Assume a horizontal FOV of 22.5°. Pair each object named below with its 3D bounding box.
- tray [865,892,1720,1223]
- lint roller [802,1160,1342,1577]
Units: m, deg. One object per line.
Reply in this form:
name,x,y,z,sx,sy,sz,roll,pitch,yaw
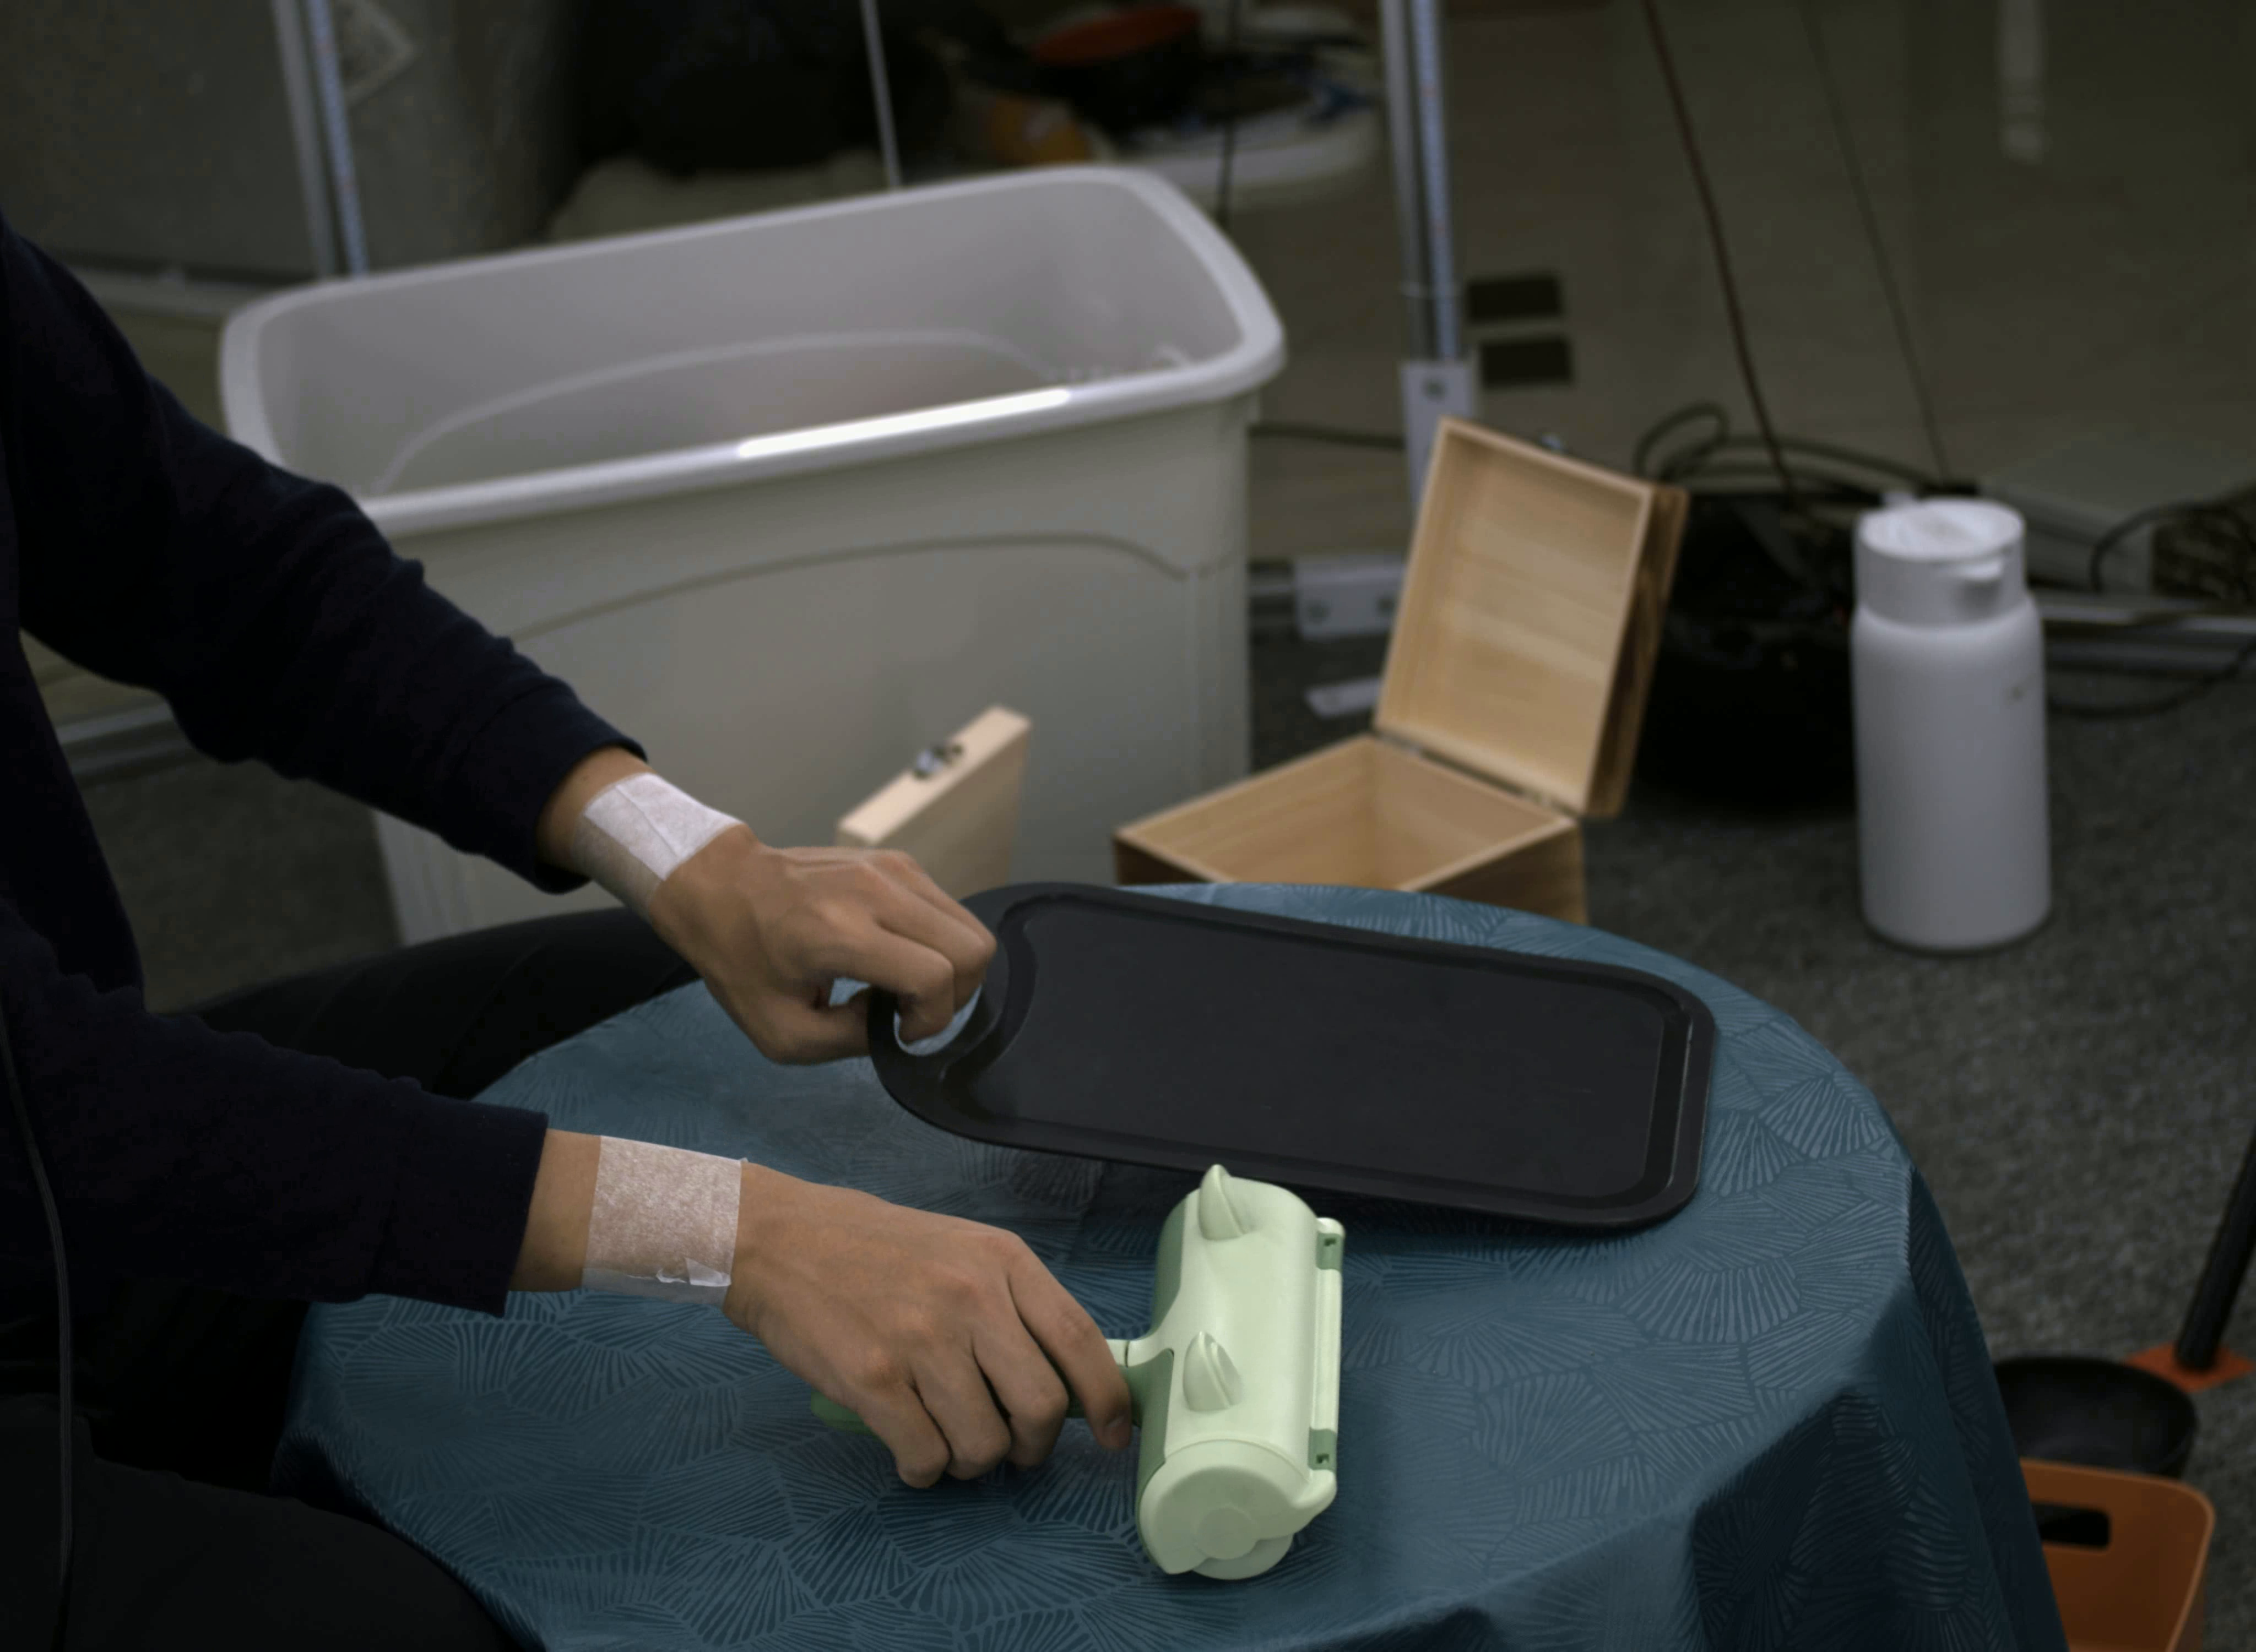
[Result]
tray,0.062,0.084,2.174,0.324,0.010,0.208,8,27,6
lint roller,-0.019,0.174,1.961,0.183,0.083,0.195,8,26,0
